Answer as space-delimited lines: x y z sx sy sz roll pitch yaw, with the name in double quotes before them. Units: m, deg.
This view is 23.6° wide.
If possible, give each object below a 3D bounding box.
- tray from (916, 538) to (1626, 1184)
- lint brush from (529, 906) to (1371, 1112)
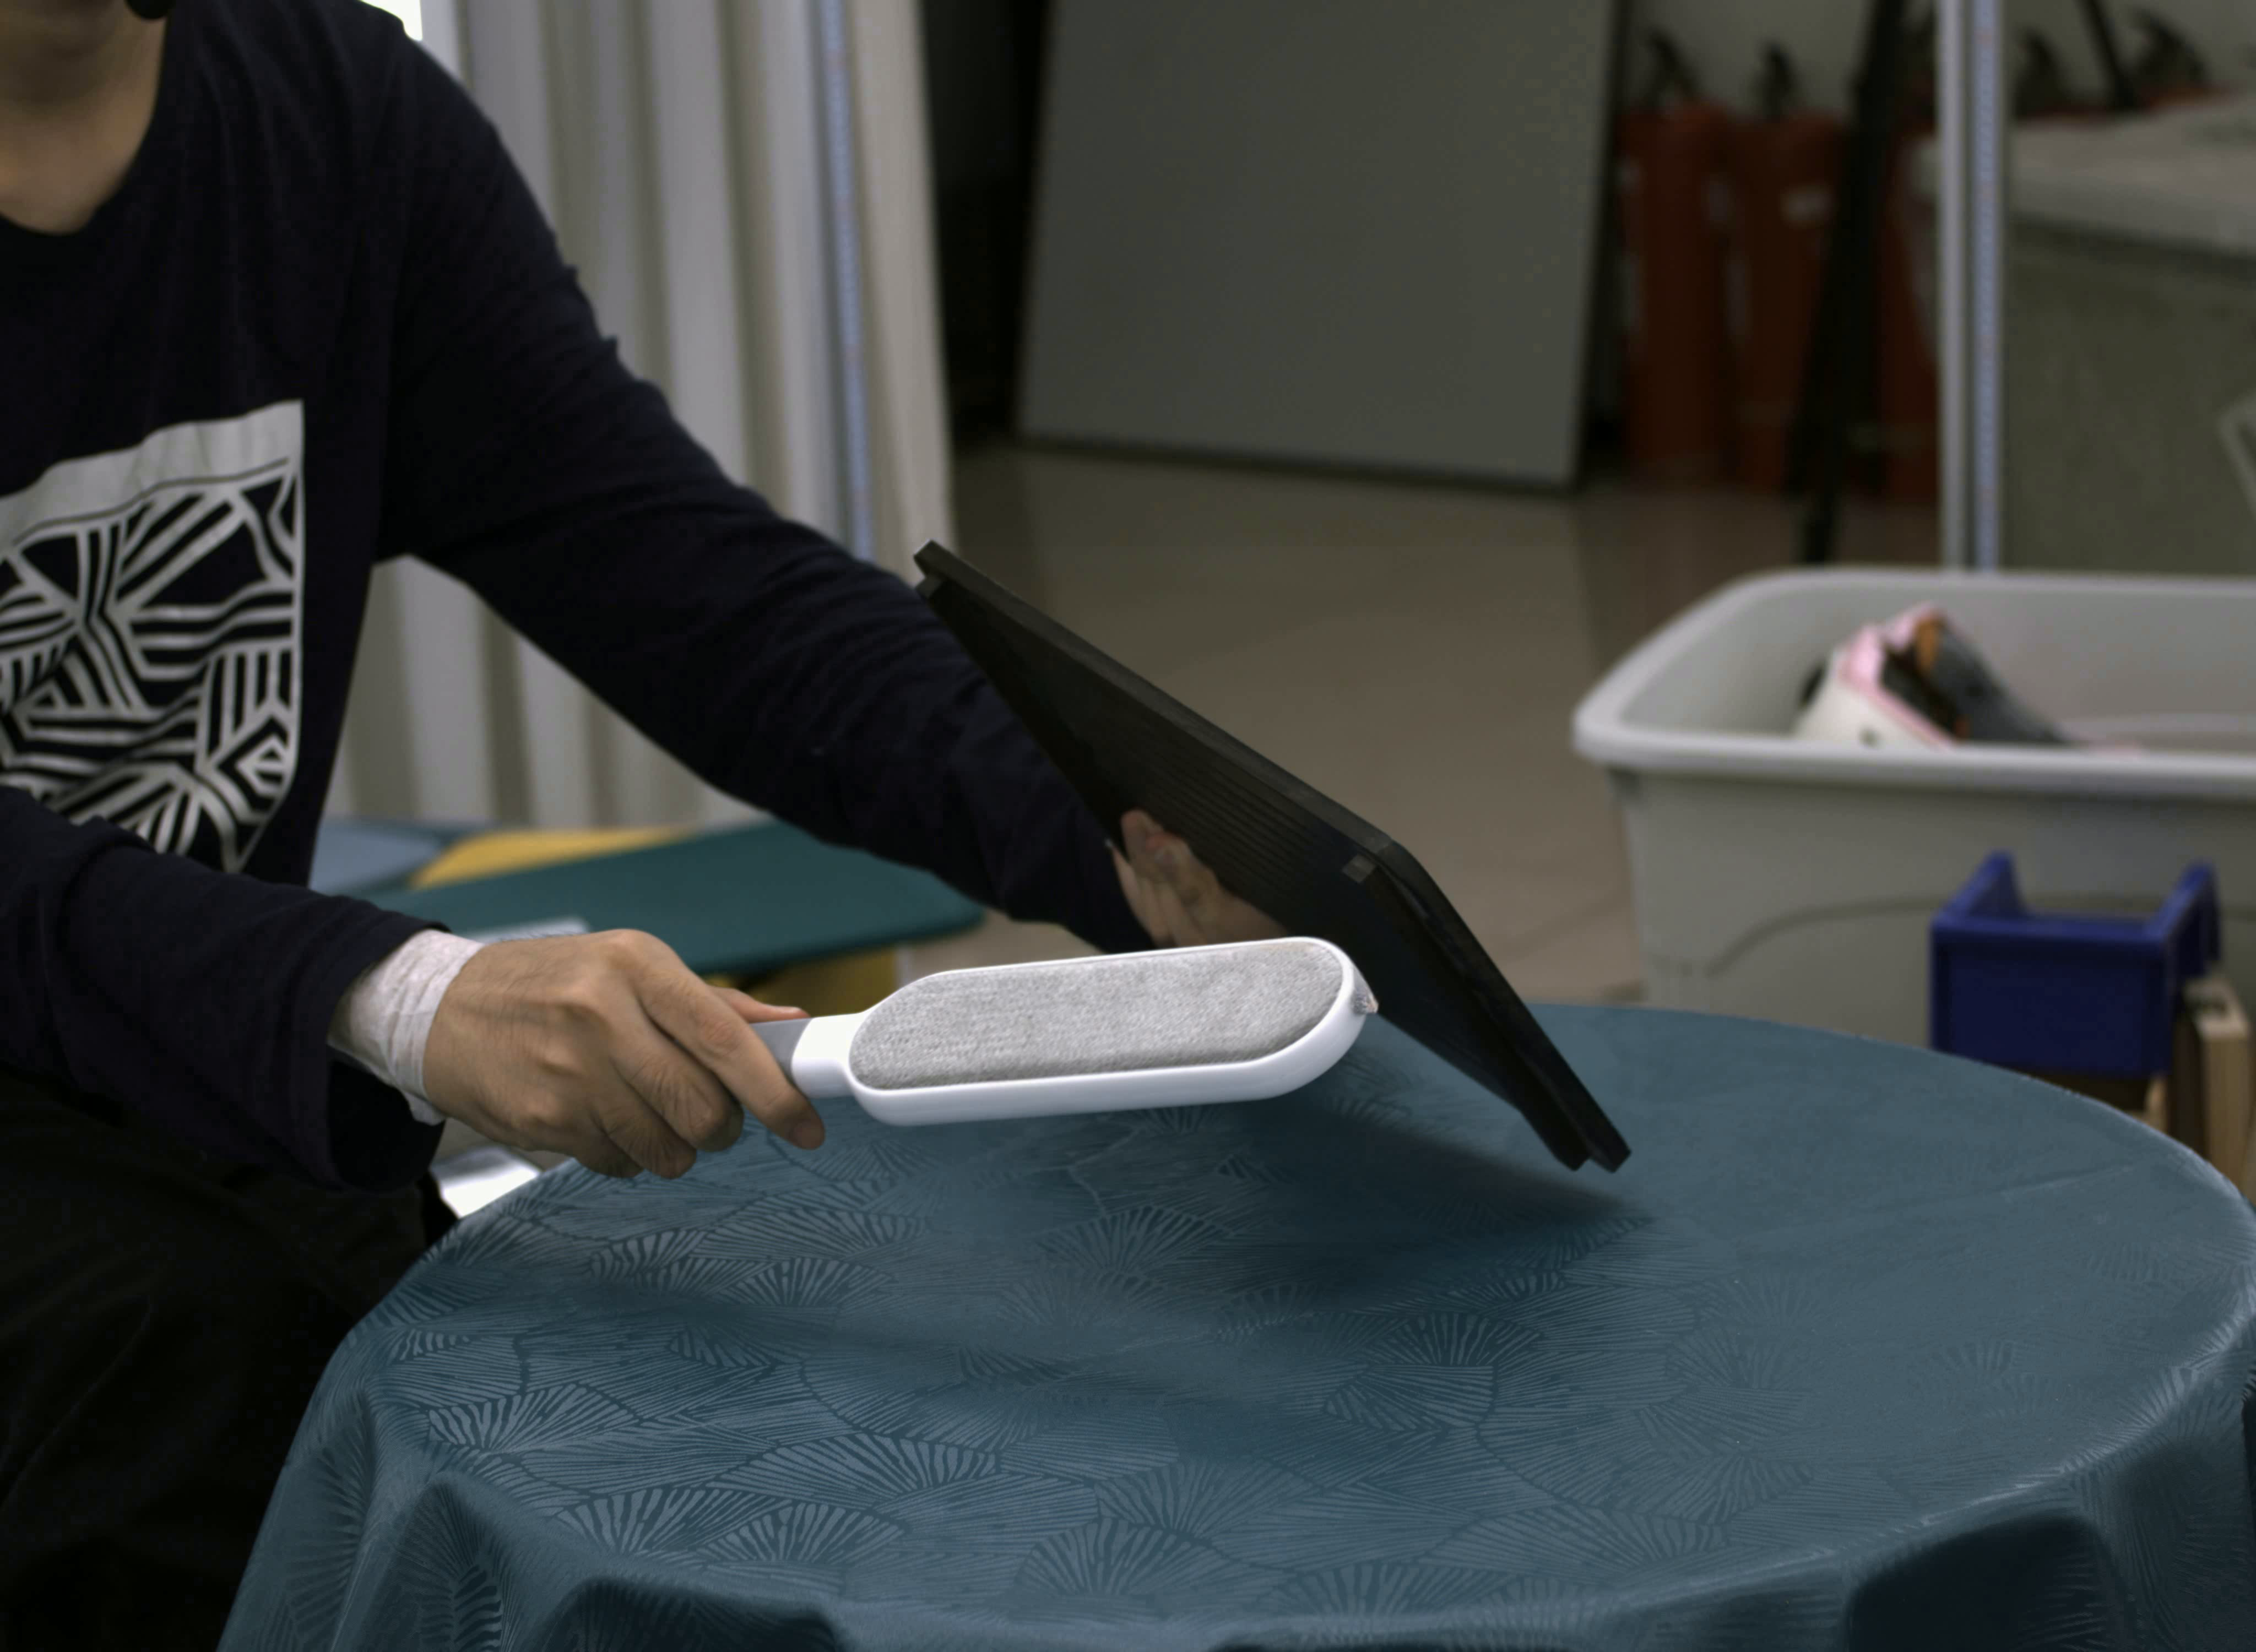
"tray" 0.040 0.011 1.792 0.018 0.169 0.309 -44 38 -9
"lint brush" -0.061 0.062 1.659 0.310 0.021 0.060 -8 43 33
